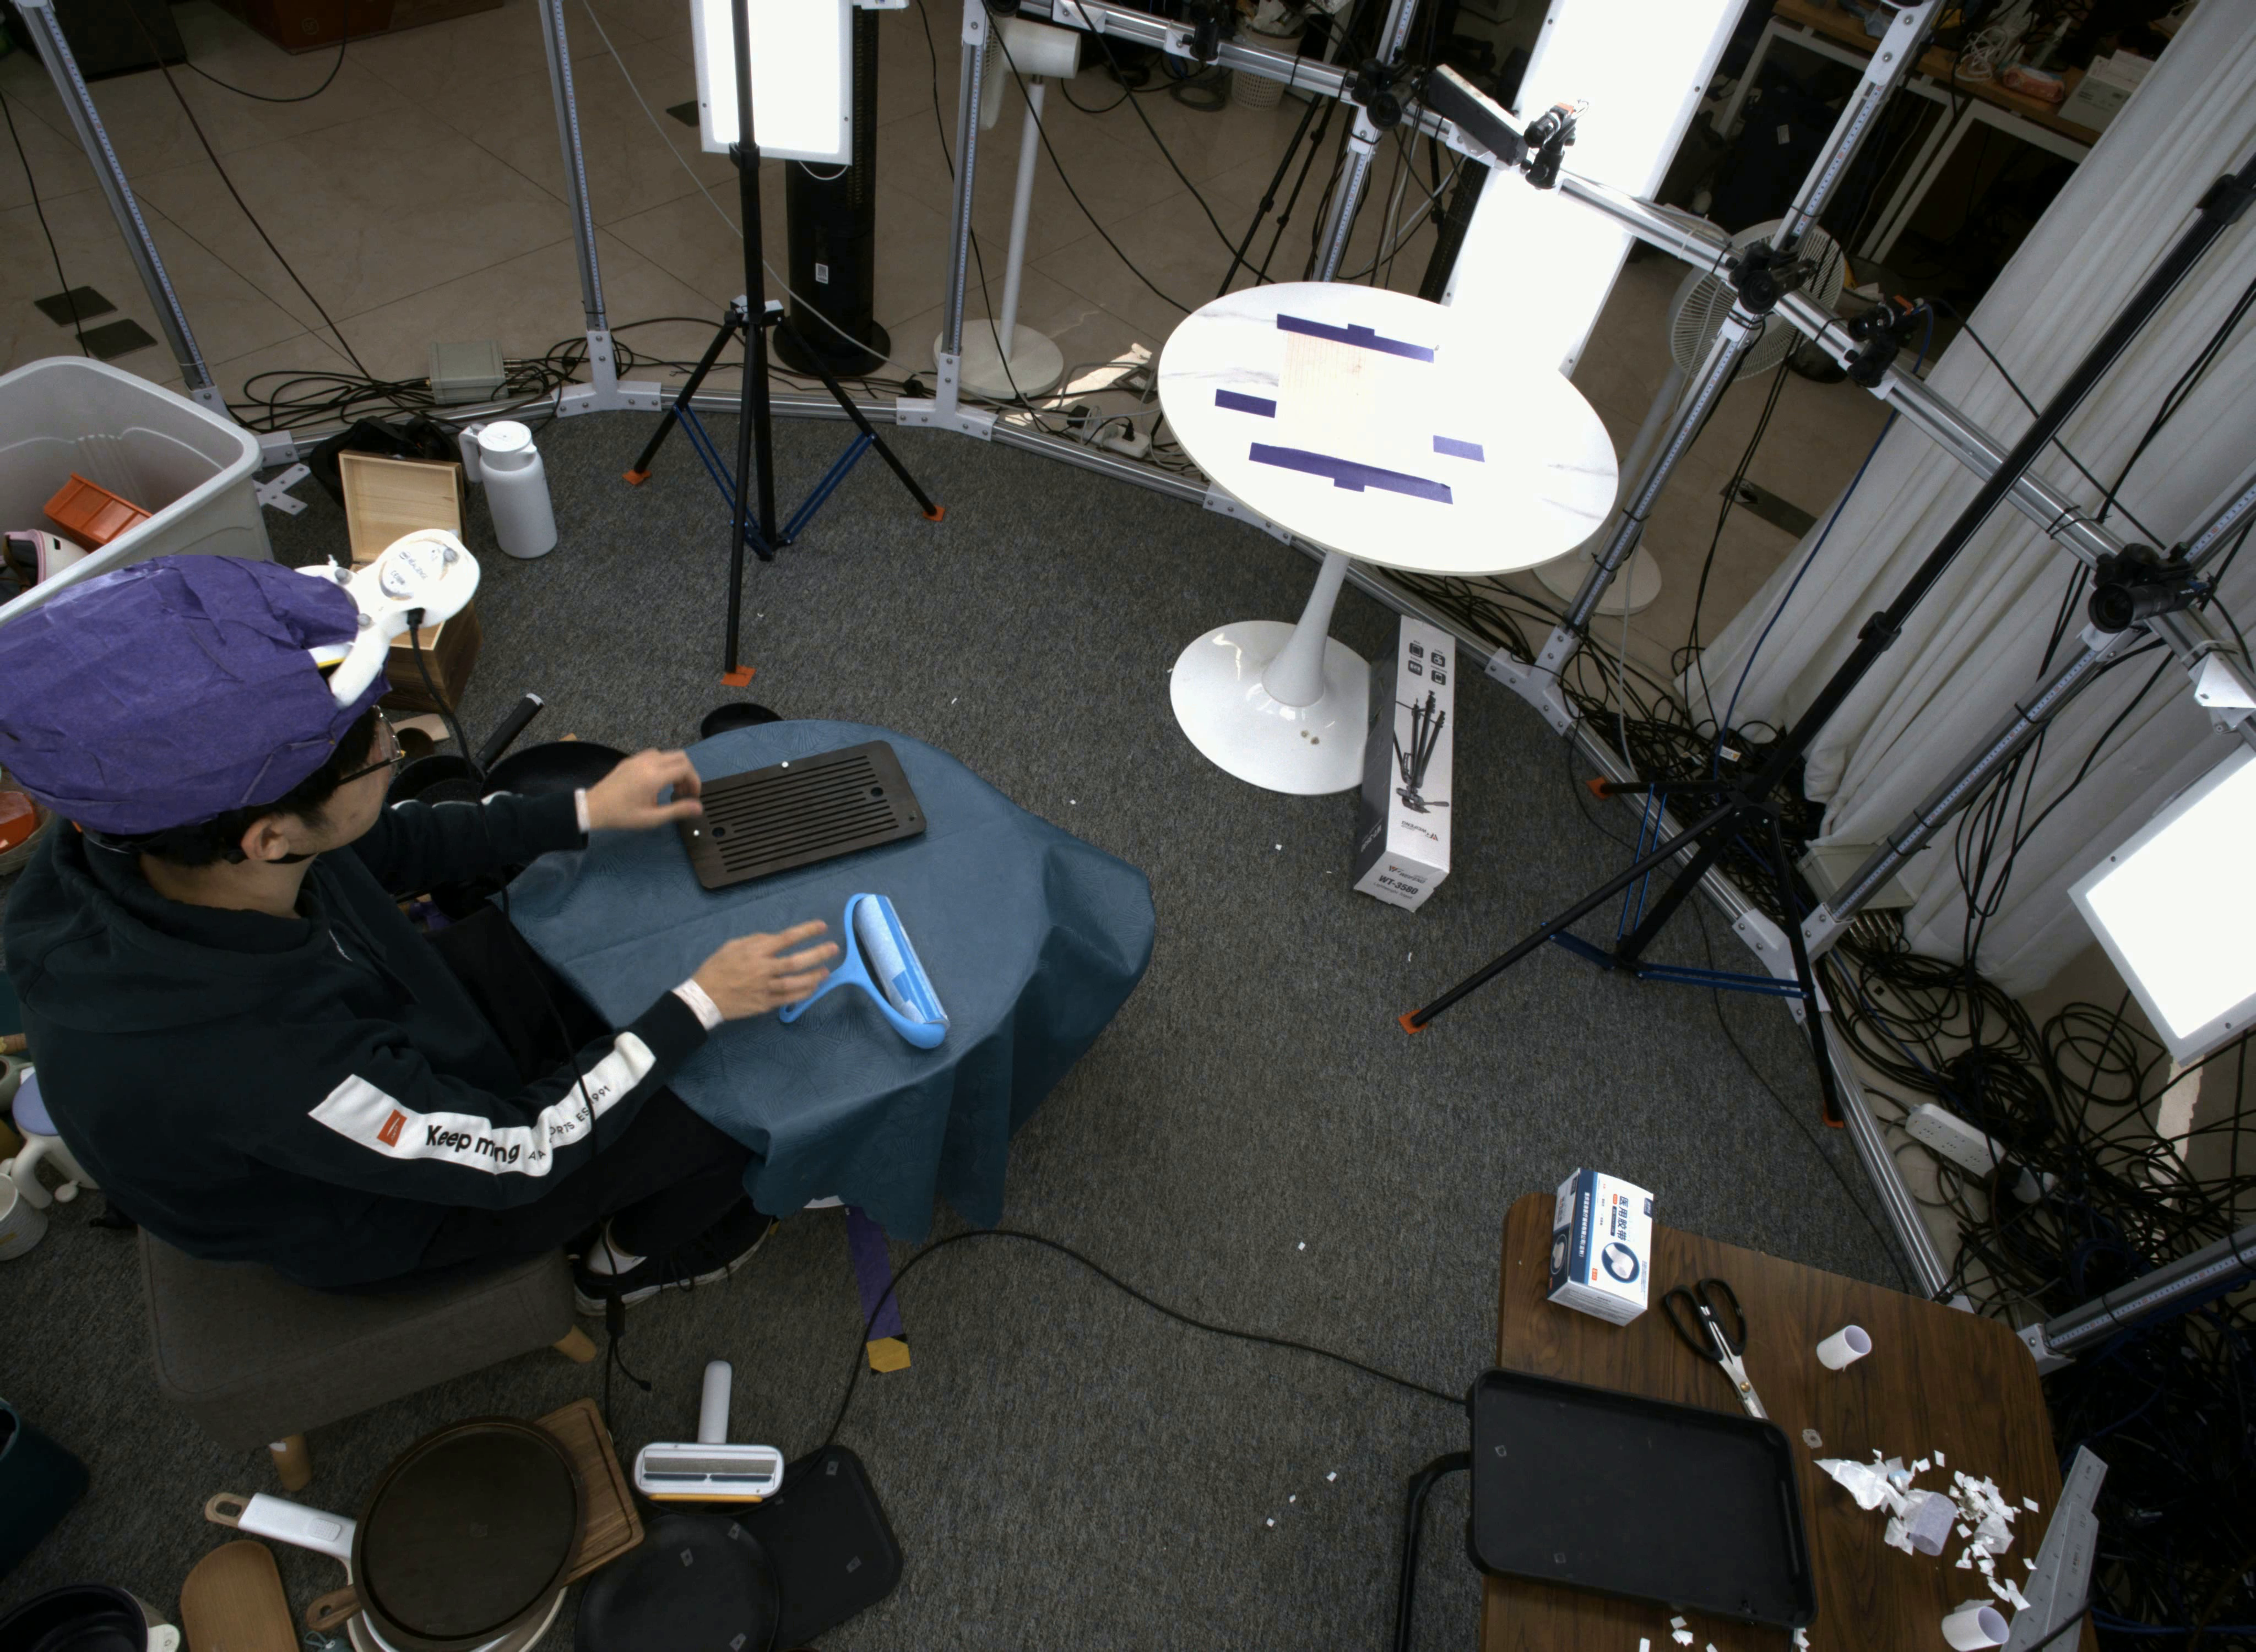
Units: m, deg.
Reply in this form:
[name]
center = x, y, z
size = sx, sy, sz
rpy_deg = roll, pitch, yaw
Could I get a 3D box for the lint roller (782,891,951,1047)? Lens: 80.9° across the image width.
[lint roller]
center = -0.332, 0.189, 1.577
size = 0.181, 0.069, 0.224
rpy_deg = -20, 63, -28

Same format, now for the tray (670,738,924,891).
[tray]
center = -0.440, -0.019, 1.728
size = 0.307, 0.019, 0.166
rpy_deg = -16, 60, -25
